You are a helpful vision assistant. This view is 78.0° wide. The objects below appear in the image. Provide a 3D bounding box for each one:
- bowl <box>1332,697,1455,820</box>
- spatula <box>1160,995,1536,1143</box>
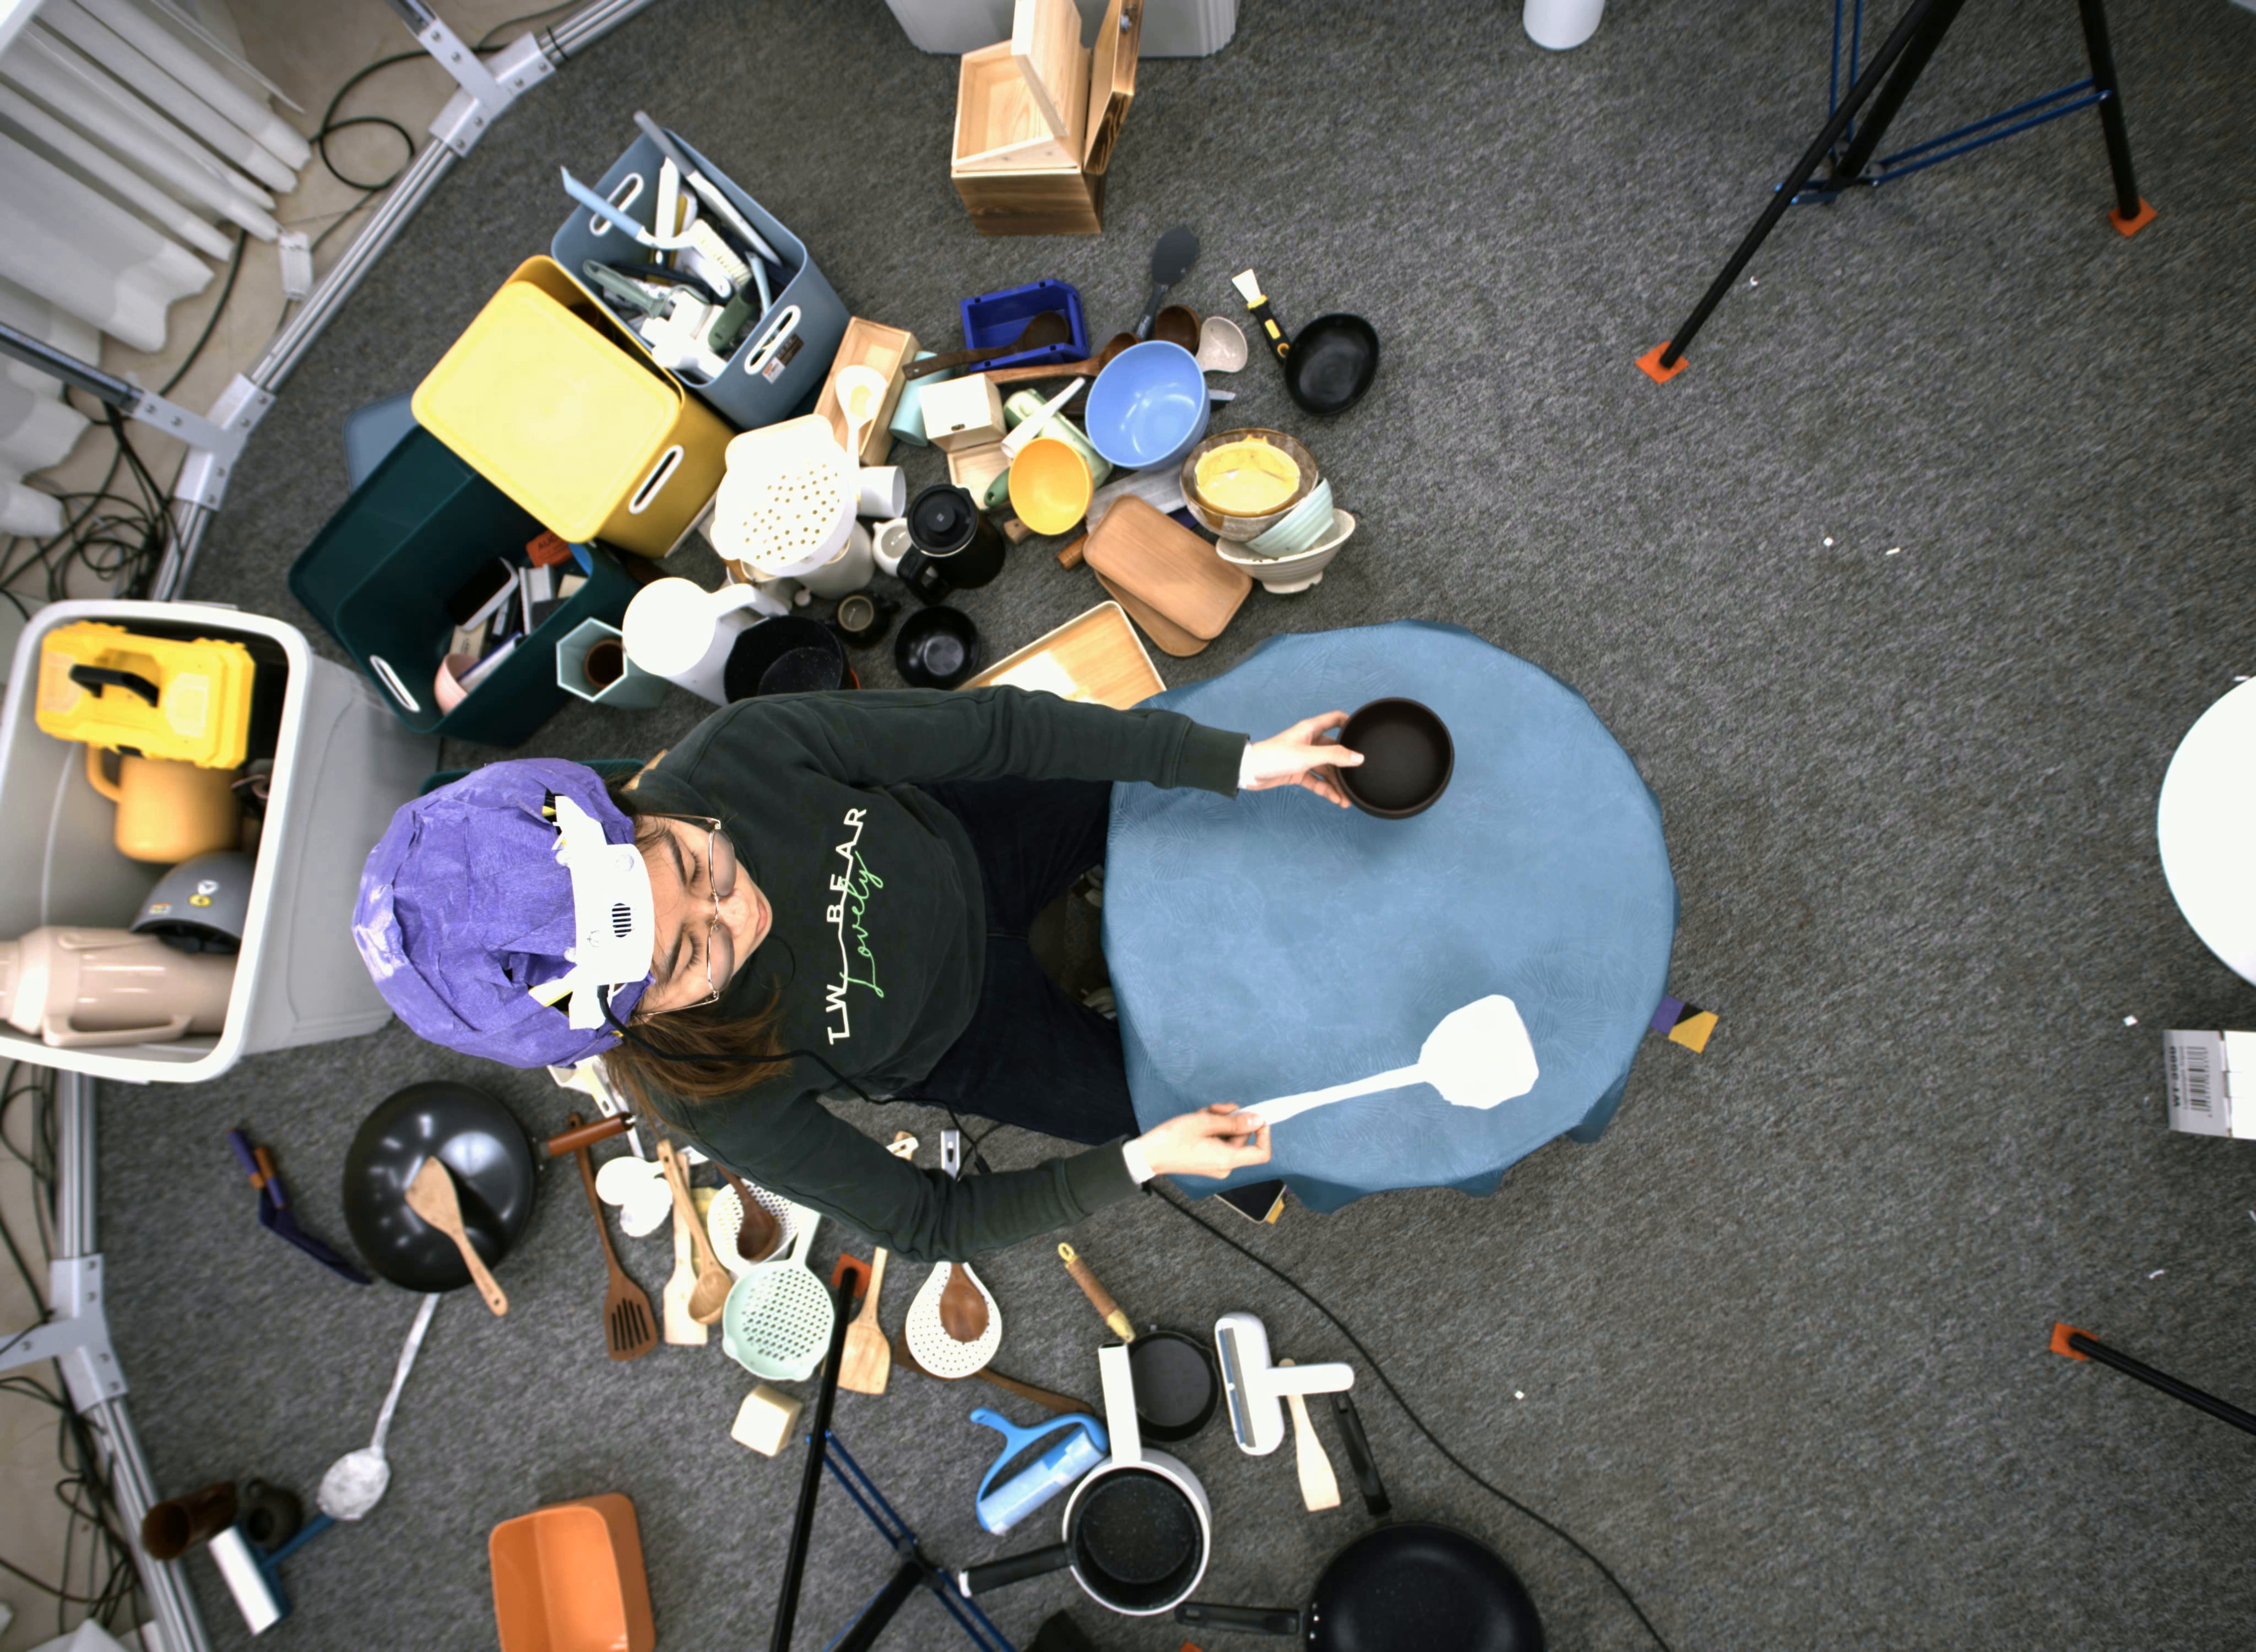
[{"bbox_3d":[0.261,-0.063,1.350,0.118,0.070,0.117,-2,81,12],"label":"bowl"},{"bbox_3d":[0.206,0.252,1.326,0.366,0.045,0.097,-16,70,6],"label":"spatula"}]
